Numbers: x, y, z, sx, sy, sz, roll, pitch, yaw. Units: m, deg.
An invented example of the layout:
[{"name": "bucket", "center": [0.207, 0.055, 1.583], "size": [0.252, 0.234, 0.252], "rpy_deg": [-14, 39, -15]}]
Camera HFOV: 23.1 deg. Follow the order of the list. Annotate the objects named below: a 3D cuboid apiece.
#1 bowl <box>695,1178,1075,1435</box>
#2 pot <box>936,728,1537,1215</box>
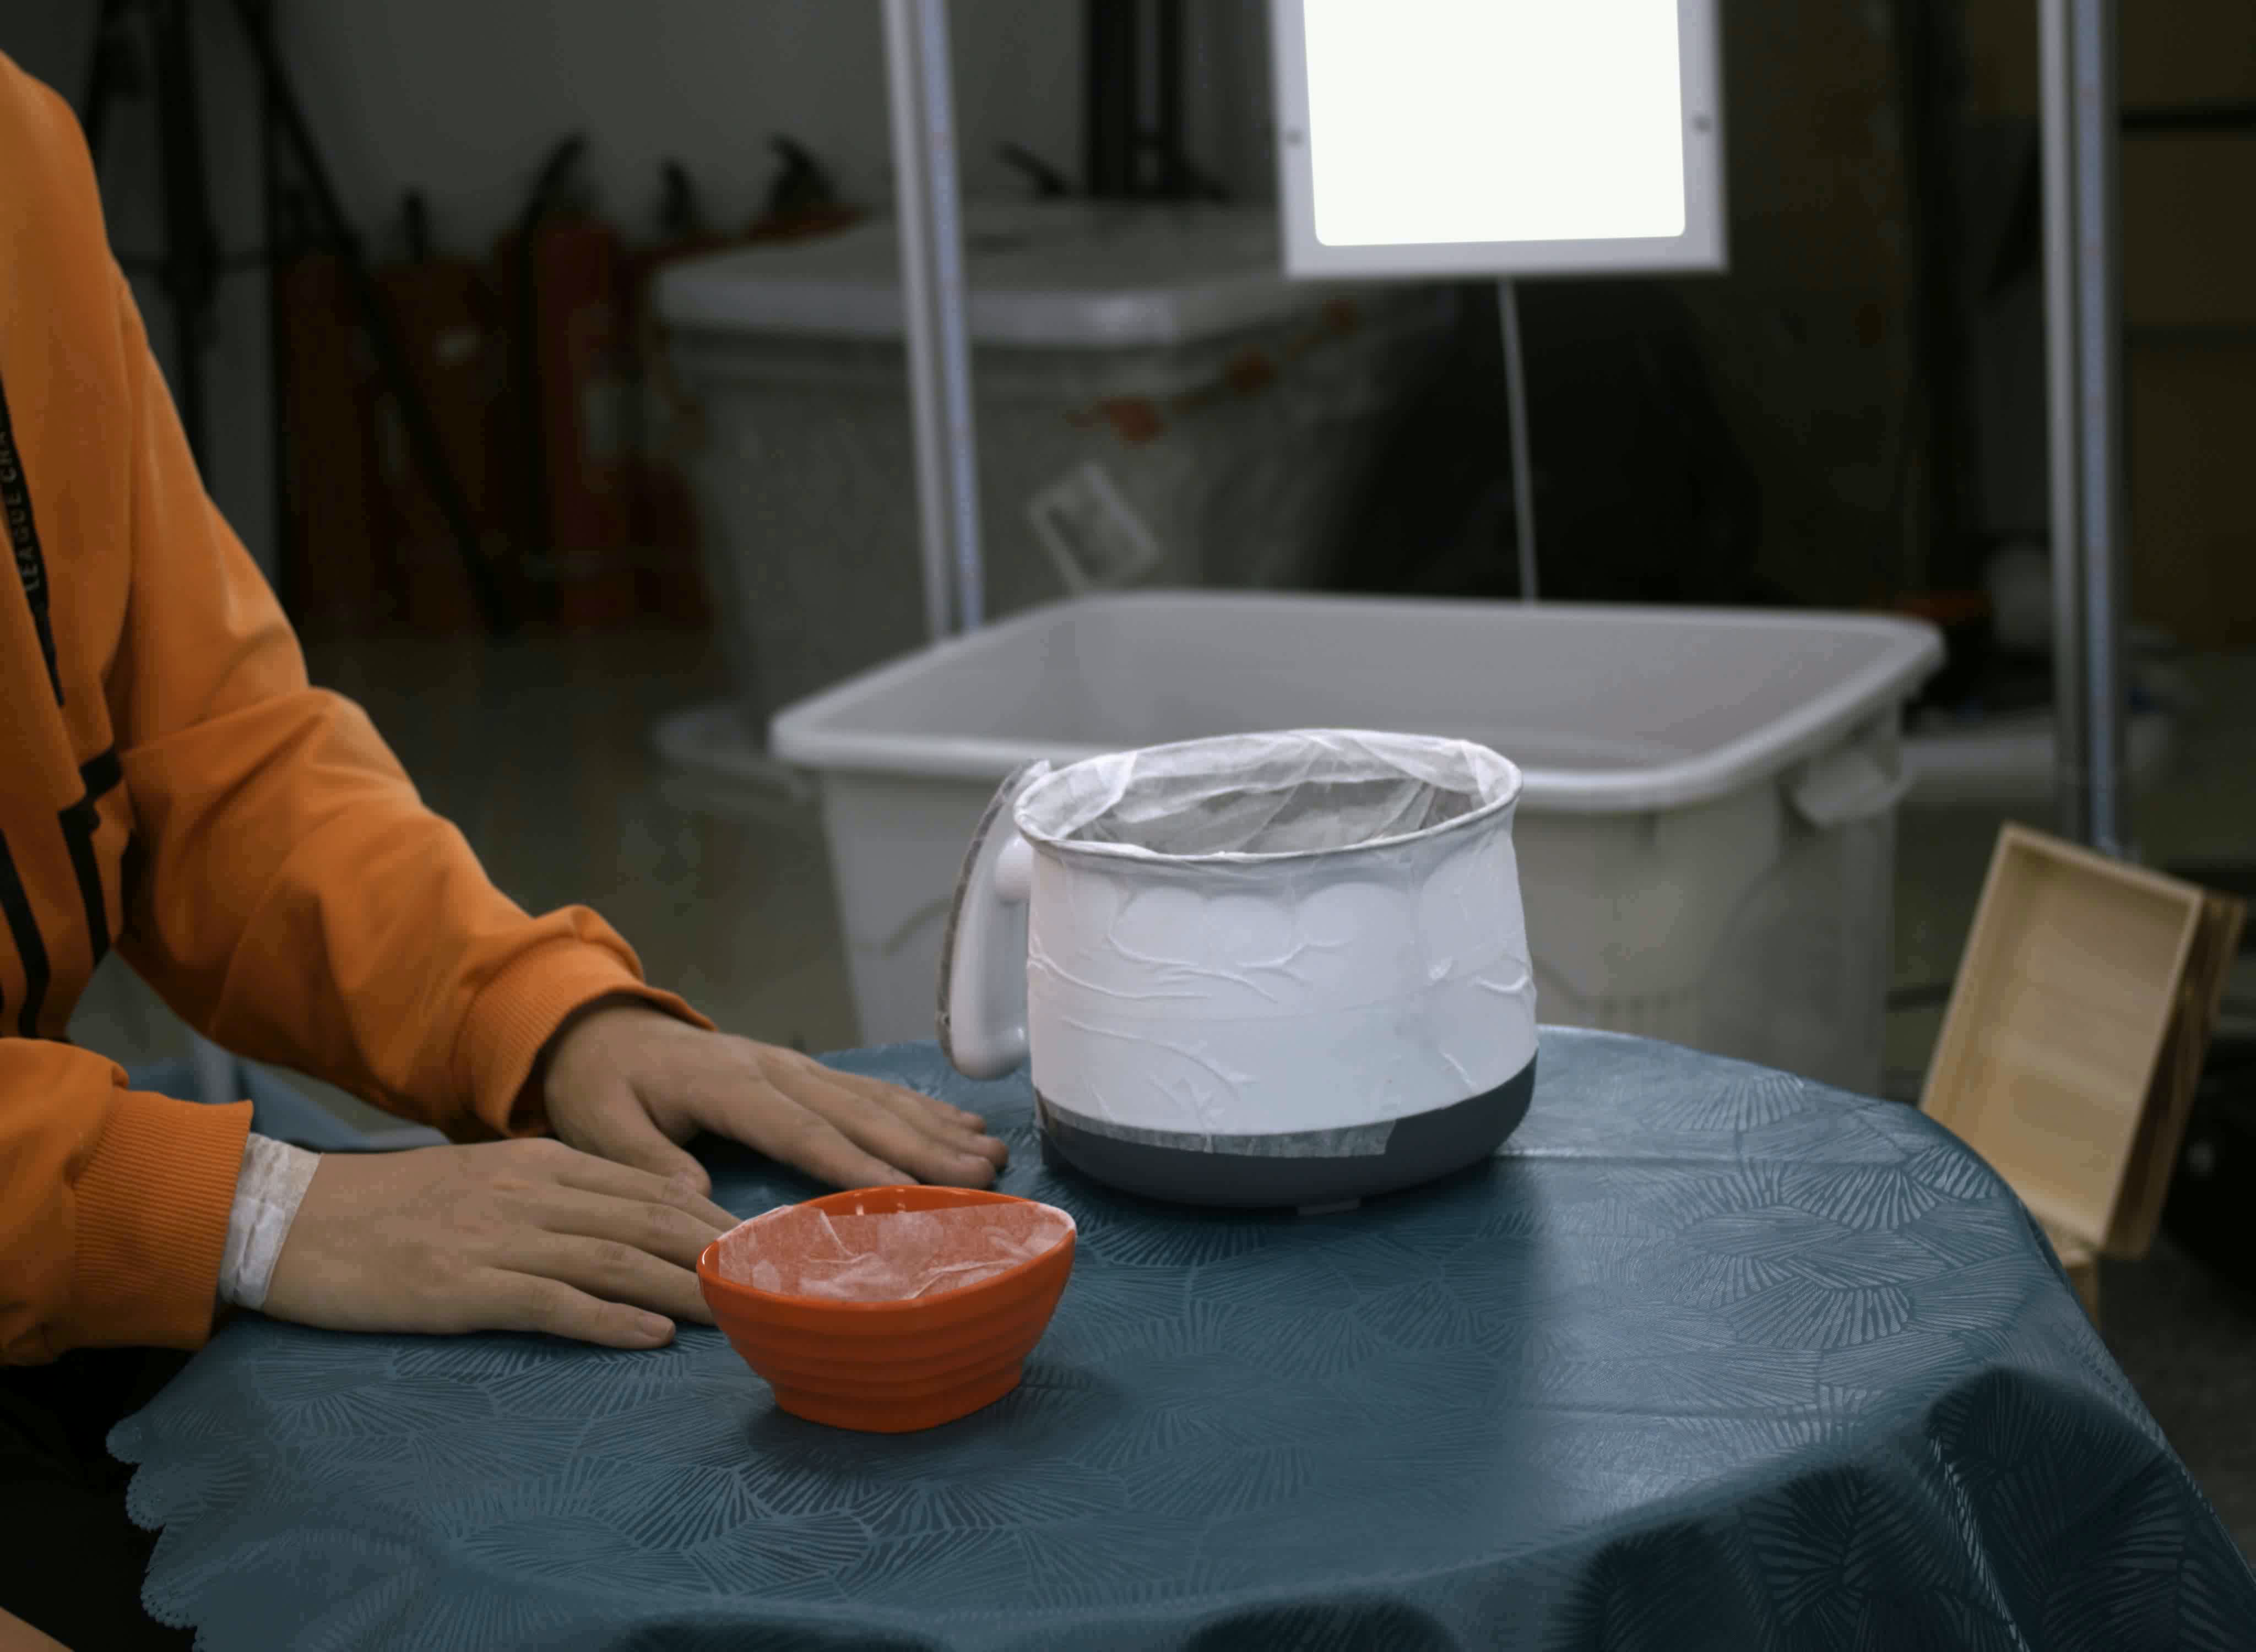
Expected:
[{"name": "bowl", "center": [-0.074, 0.151, 1.713], "size": [0.118, 0.051, 0.119], "rpy_deg": [-4, 16, 0]}, {"name": "pot", "center": [0.030, 0.047, 1.921], "size": [0.238, 0.137, 0.174], "rpy_deg": [5, 17, 35]}]
